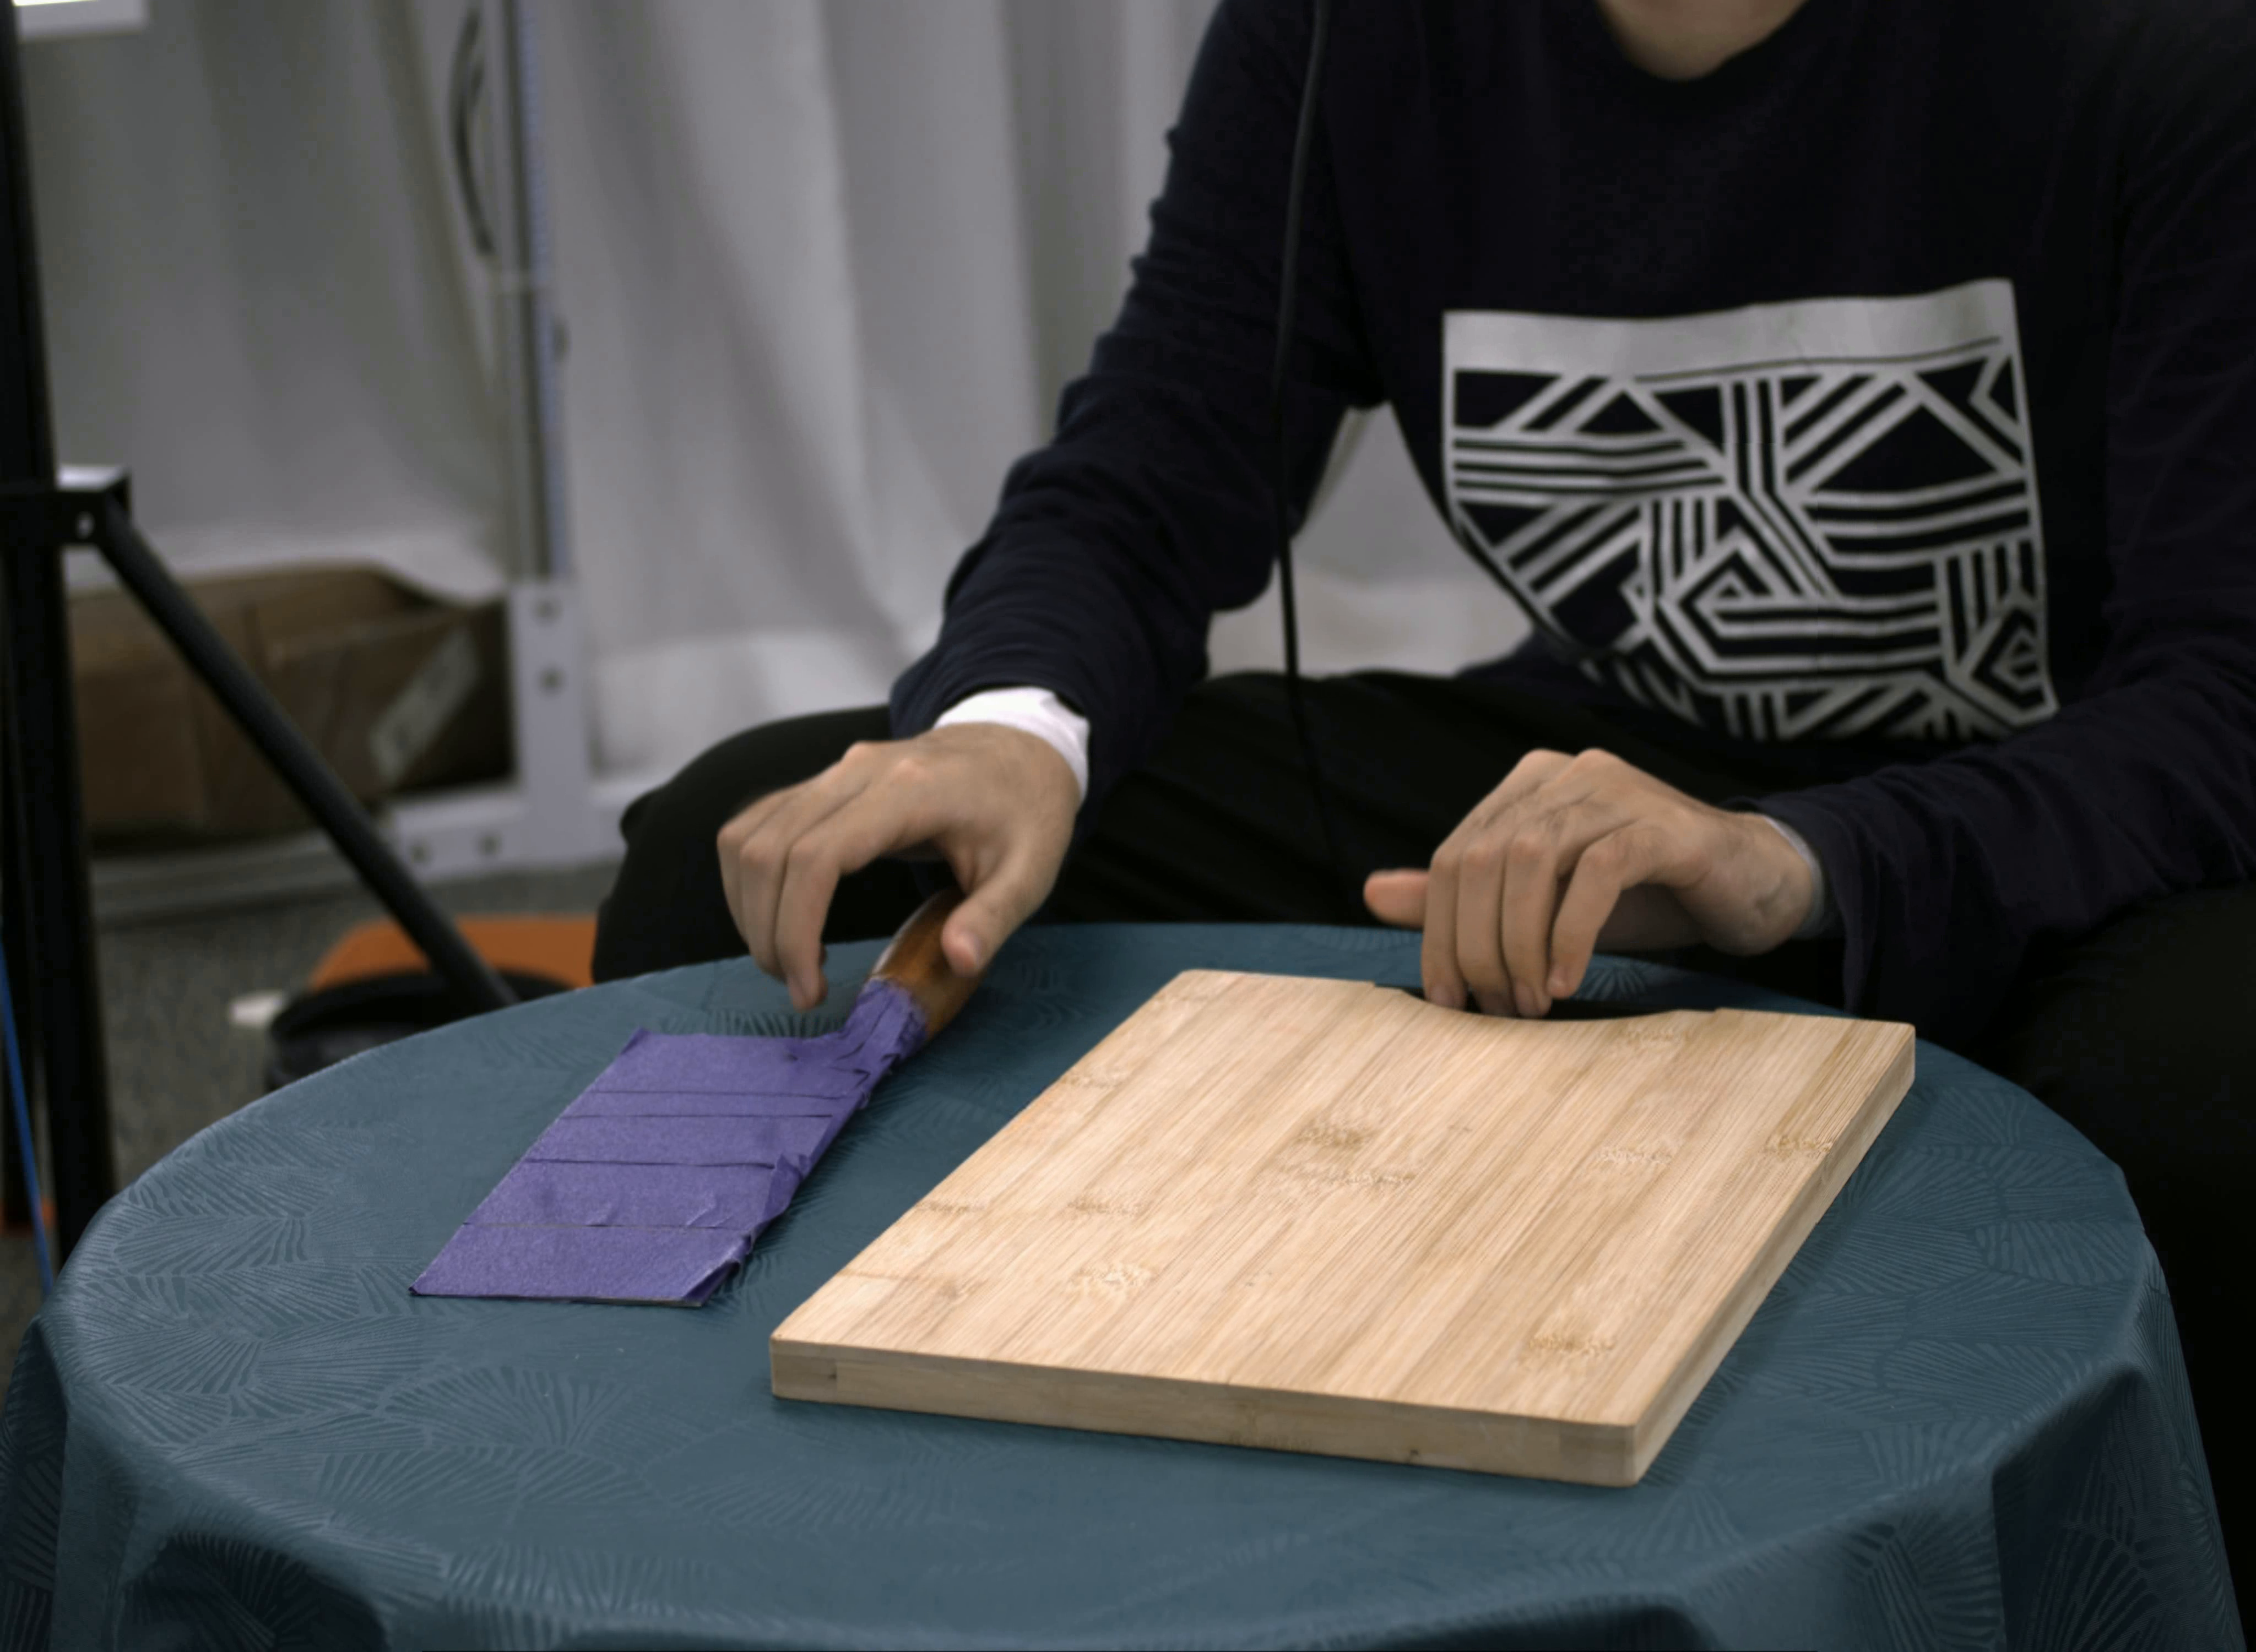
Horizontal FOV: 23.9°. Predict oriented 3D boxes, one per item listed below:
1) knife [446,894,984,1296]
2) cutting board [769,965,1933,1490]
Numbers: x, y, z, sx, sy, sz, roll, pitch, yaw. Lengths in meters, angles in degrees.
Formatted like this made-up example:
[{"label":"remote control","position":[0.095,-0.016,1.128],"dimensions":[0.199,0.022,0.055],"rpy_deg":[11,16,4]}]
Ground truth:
[{"label":"knife","position":[-0.123,0.079,1.633],"dimensions":[0.104,0.032,0.313],"rpy_deg":[1,17,13]},{"label":"cutting board","position":[0.075,0.106,1.526],"dimensions":[0.253,0.023,0.344],"rpy_deg":[4,17,20]}]
